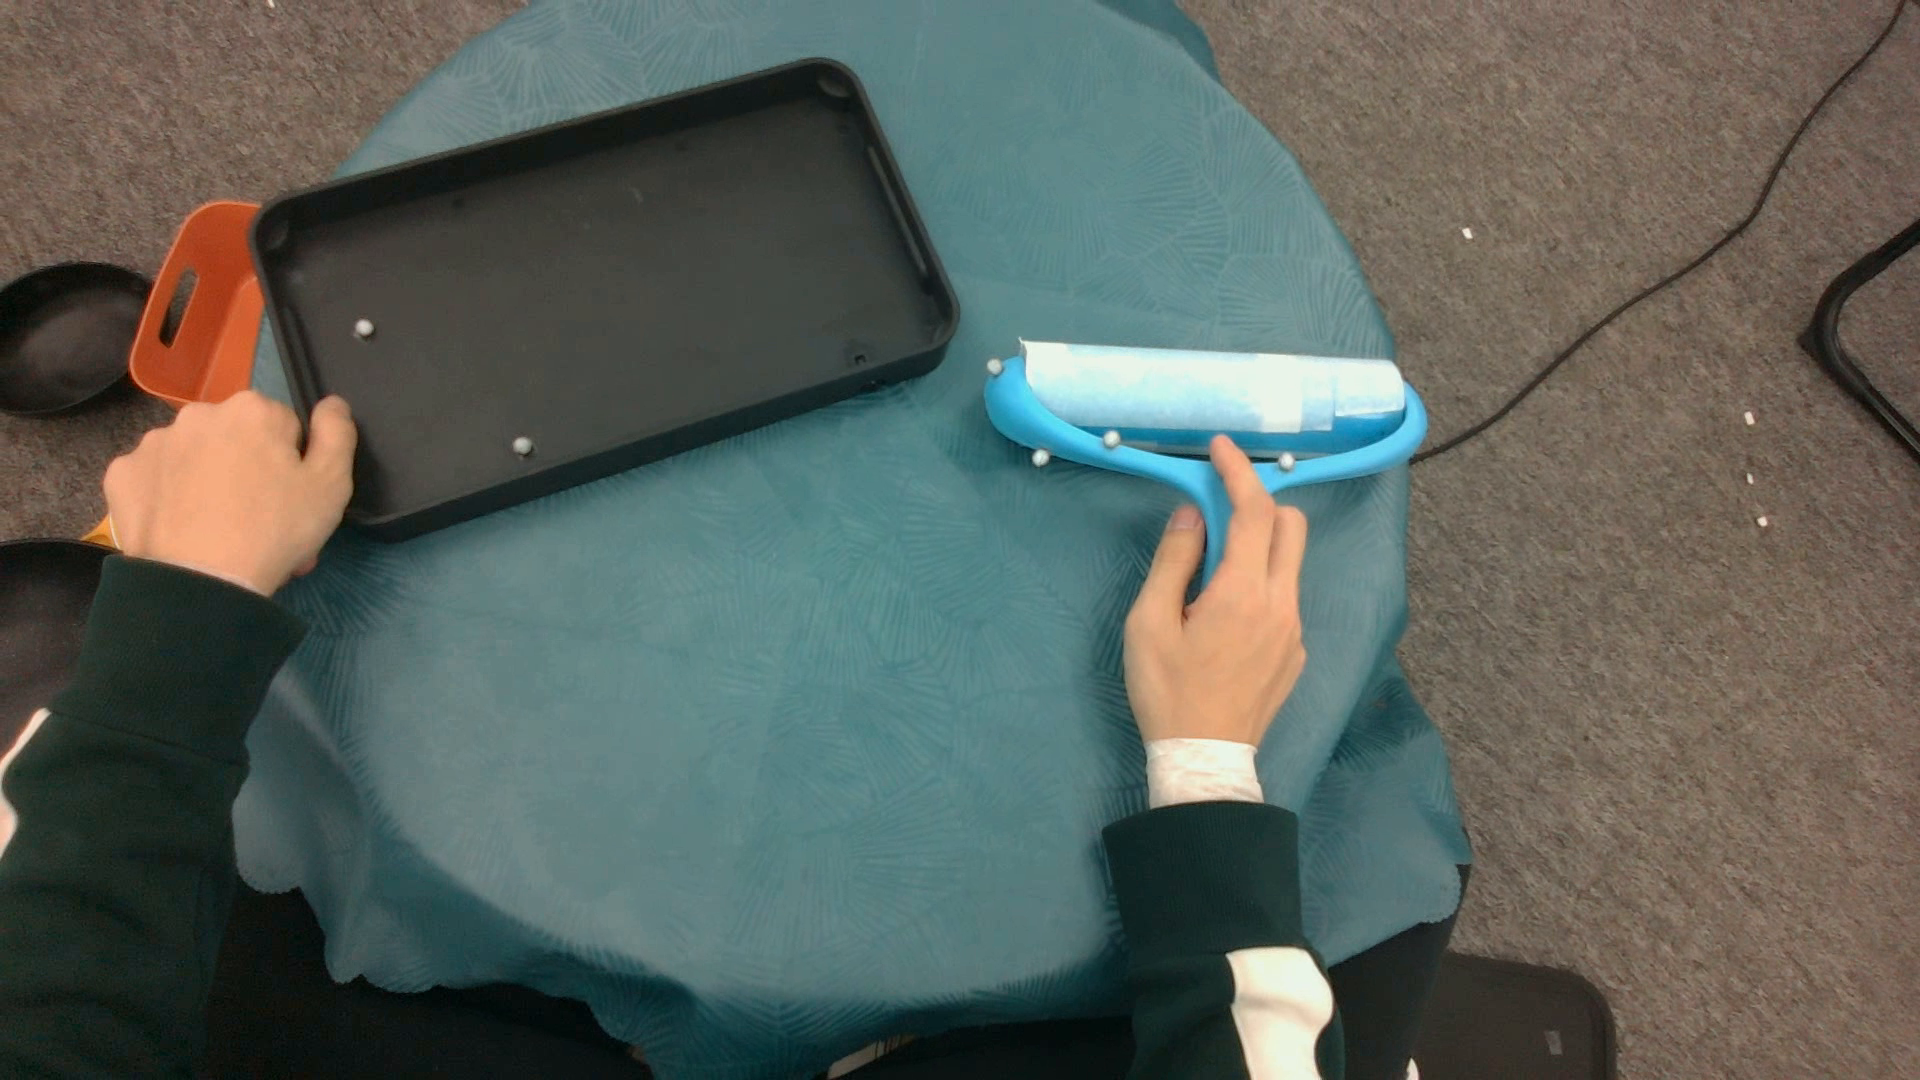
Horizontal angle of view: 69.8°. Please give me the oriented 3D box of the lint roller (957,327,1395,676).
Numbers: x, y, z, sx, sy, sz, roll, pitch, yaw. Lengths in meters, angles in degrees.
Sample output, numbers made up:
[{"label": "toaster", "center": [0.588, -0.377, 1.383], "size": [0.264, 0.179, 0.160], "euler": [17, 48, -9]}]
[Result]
[{"label": "lint roller", "center": [0.118, -0.026, 0.693], "size": [0.229, 0.067, 0.181], "euler": [-2, 70, -10]}]

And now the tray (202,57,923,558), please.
[{"label": "tray", "center": [-0.194, -0.125, 0.700], "size": [0.318, 0.037, 0.184], "euler": [-23, 75, -15]}]
